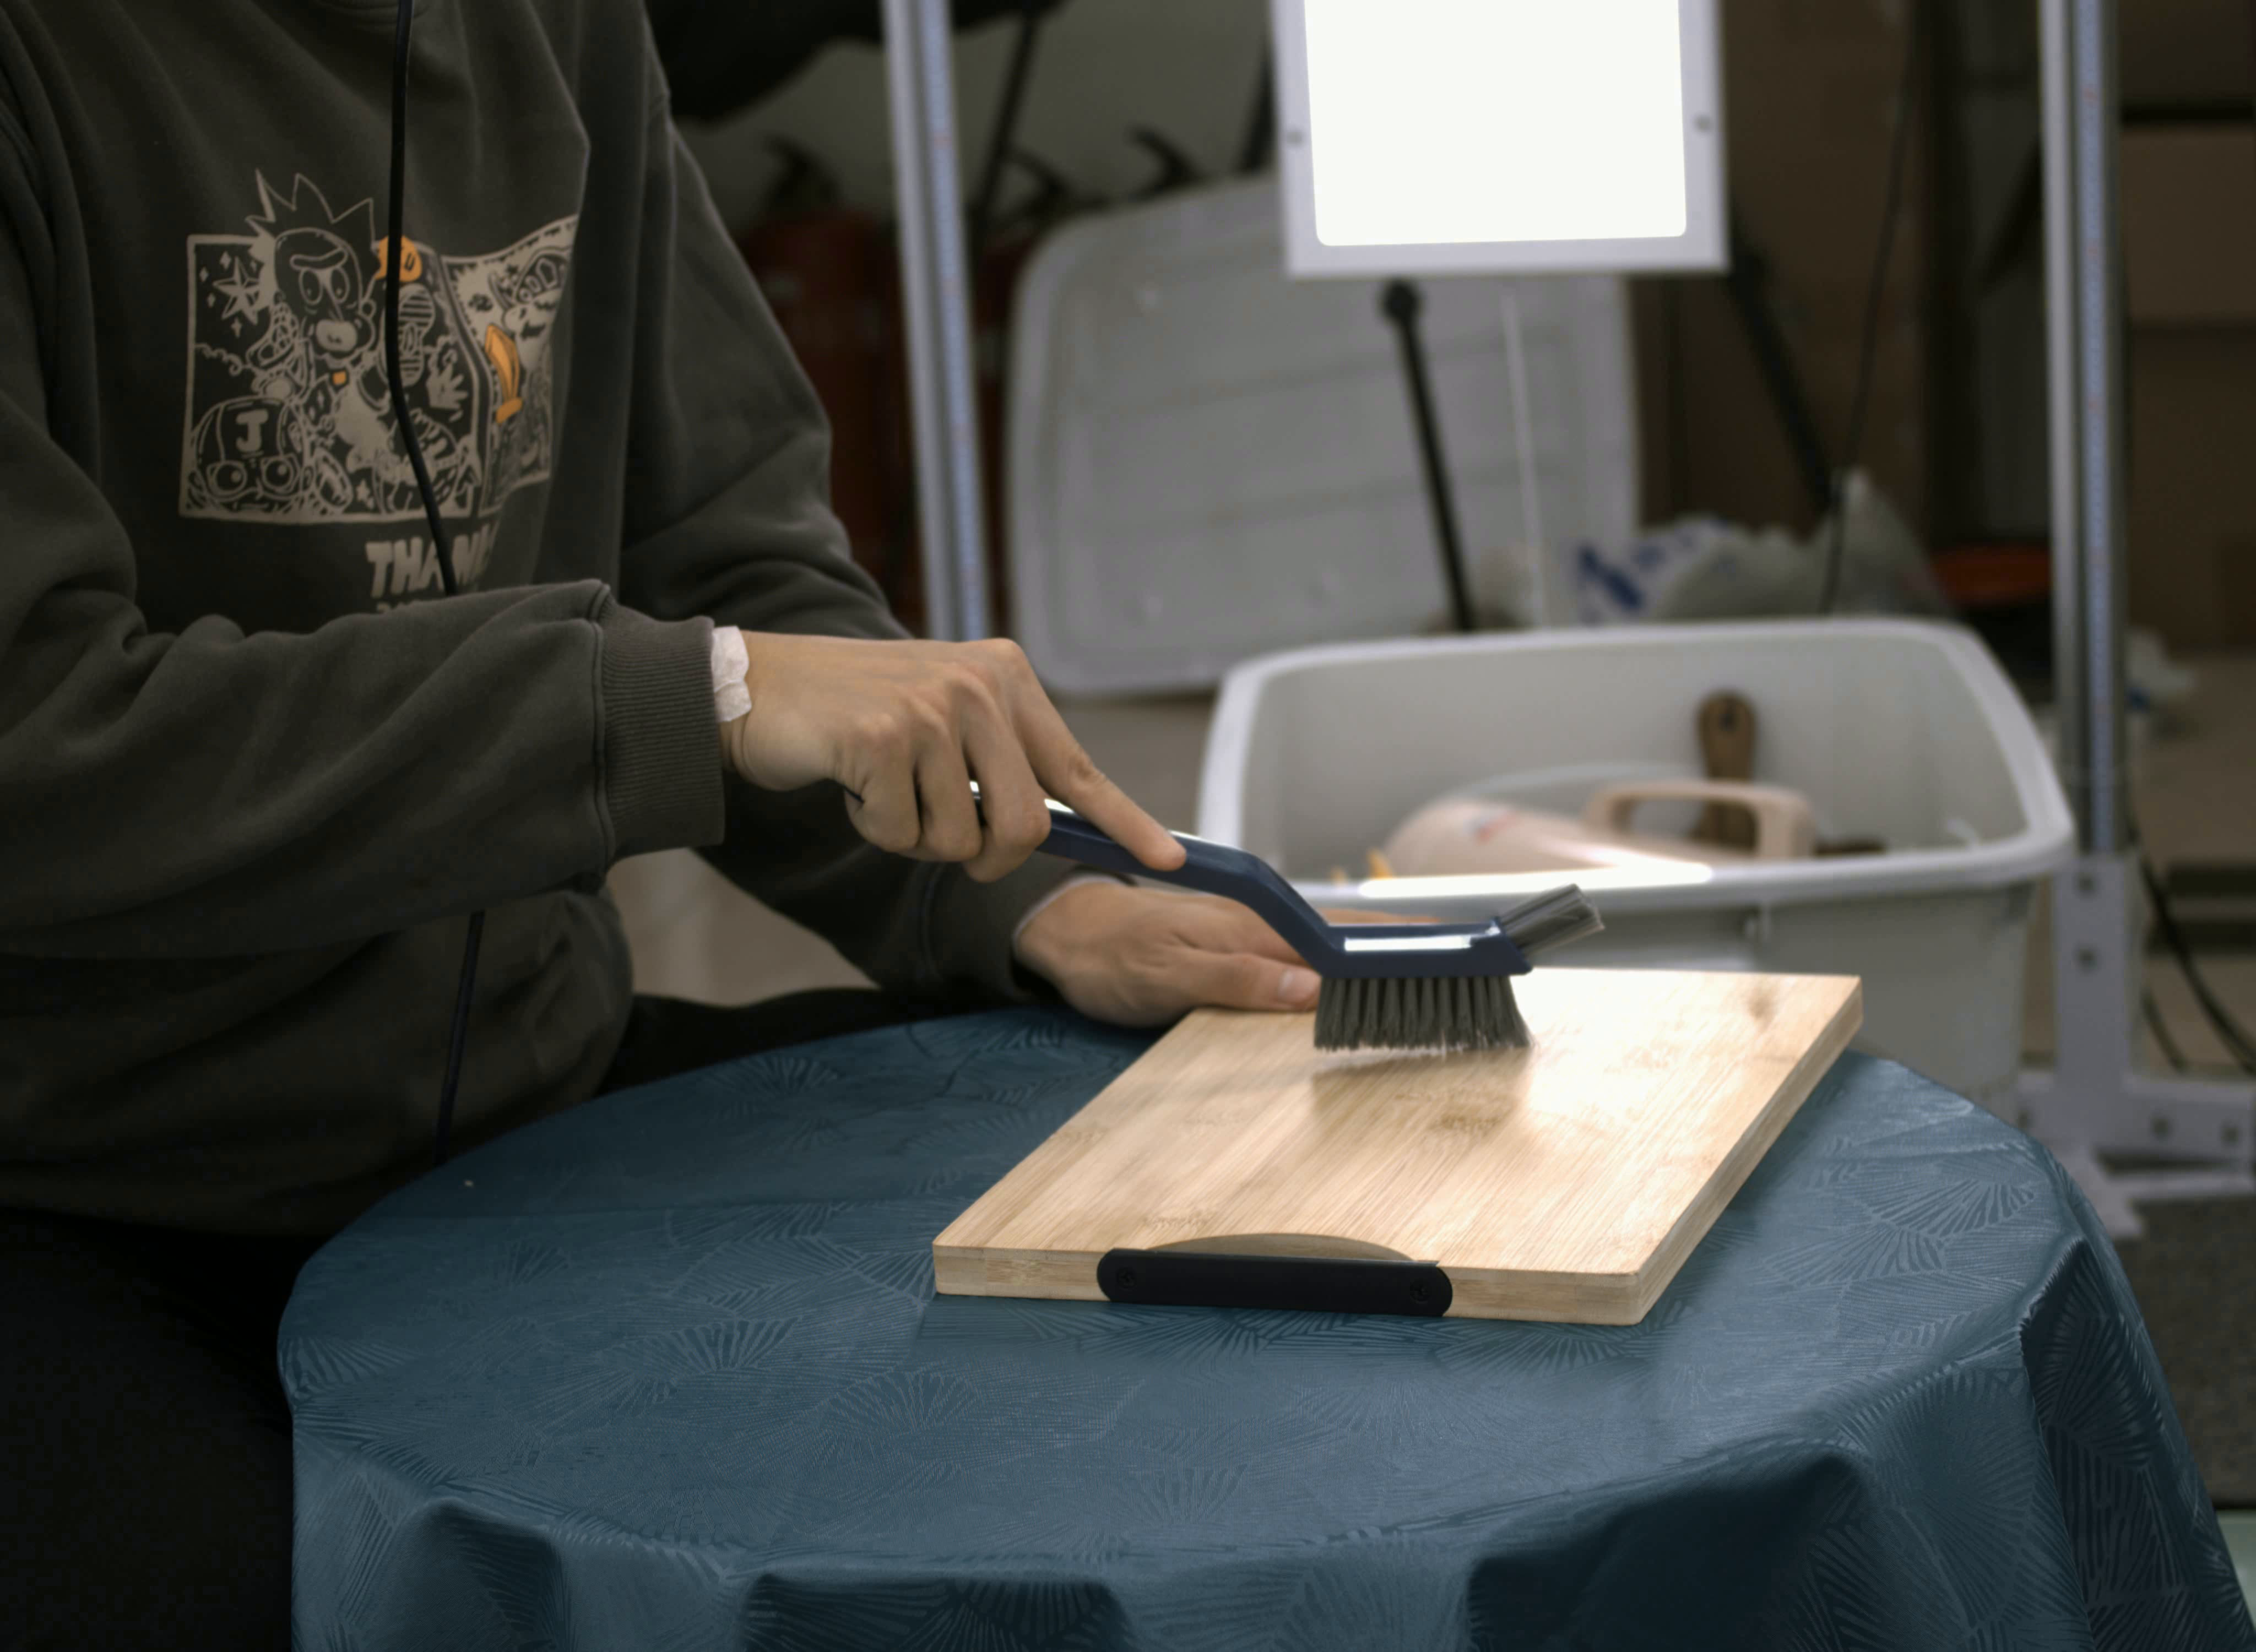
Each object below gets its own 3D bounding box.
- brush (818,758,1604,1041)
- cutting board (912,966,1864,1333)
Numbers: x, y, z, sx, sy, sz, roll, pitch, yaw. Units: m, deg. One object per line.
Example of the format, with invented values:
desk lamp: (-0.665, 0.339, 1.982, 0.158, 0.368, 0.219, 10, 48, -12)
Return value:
brush: (0.027, 0.009, 1.934, 0.270, 0.097, 0.033, 22, 24, -12)
cutting board: (0.101, 0.107, 1.907, 0.254, 0.023, 0.342, -1, 14, 20)
